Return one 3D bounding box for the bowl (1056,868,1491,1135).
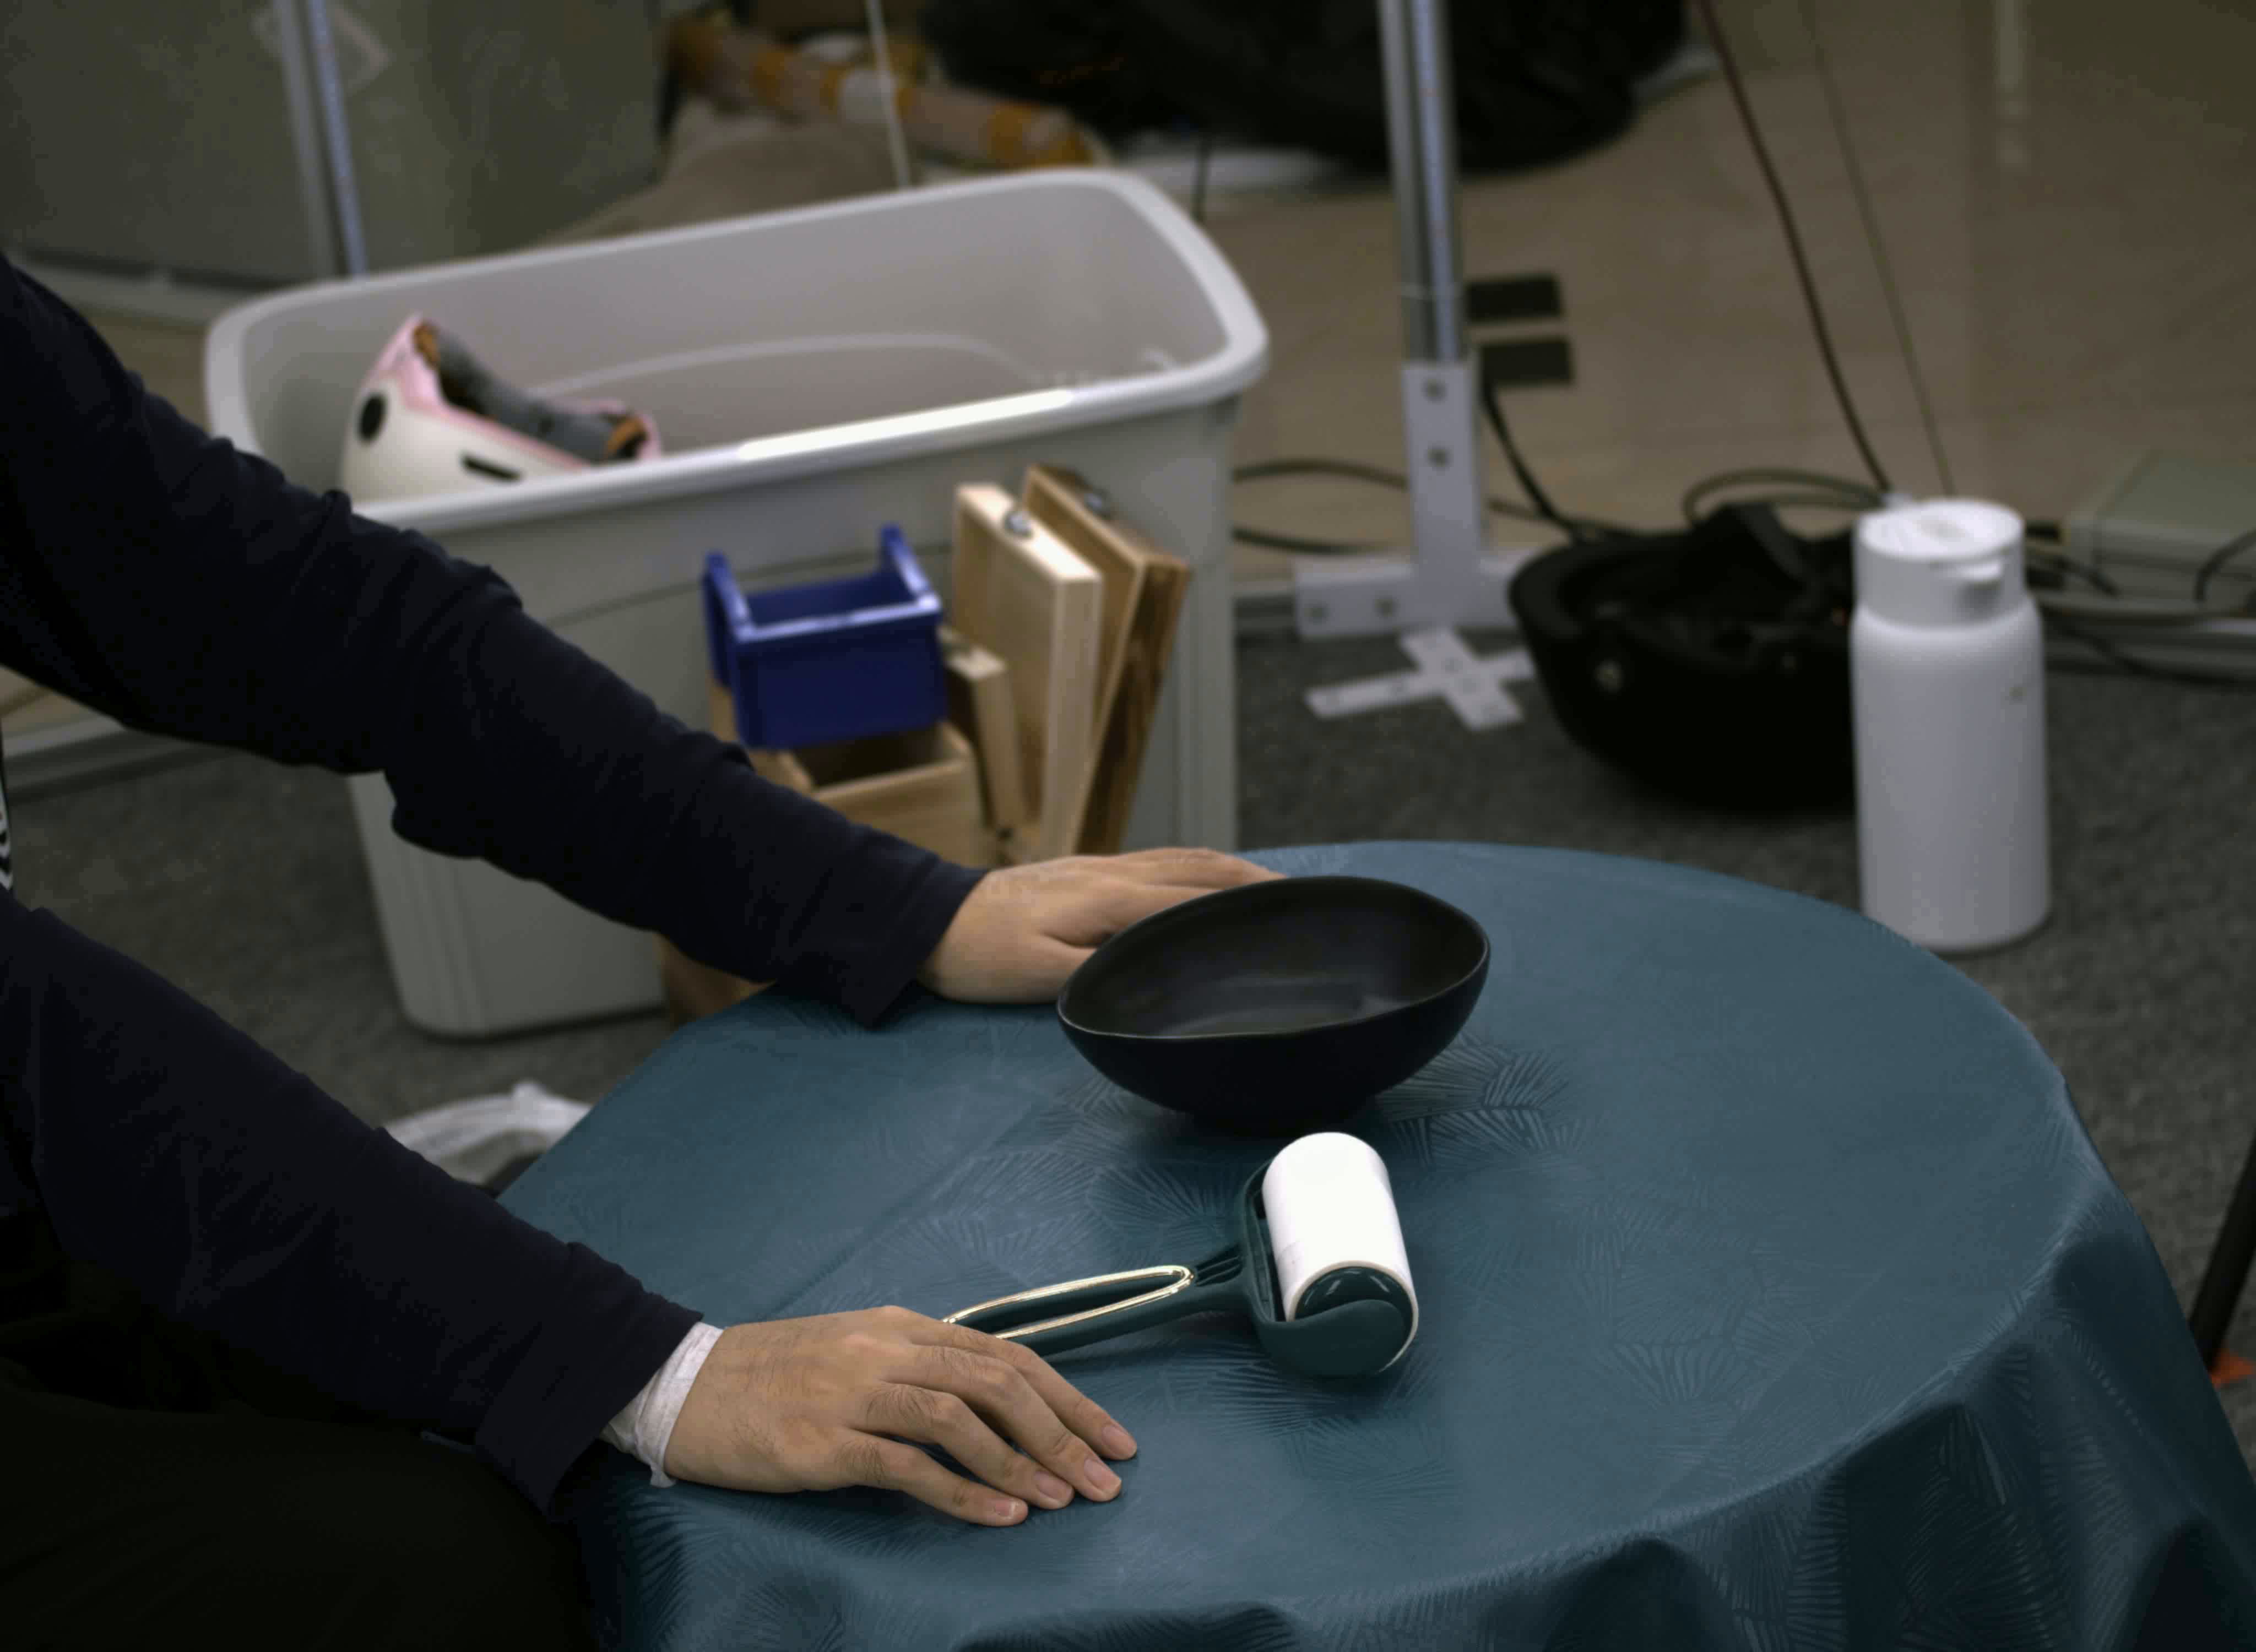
[{"bbox_3d":[0.058,0.076,2.193,0.170,0.068,0.135,-7,25,3],"label":"bowl"}]

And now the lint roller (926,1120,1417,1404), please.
[{"bbox_3d":[0.011,0.167,2.045,0.180,0.049,0.132,-12,26,2],"label":"lint roller"}]
